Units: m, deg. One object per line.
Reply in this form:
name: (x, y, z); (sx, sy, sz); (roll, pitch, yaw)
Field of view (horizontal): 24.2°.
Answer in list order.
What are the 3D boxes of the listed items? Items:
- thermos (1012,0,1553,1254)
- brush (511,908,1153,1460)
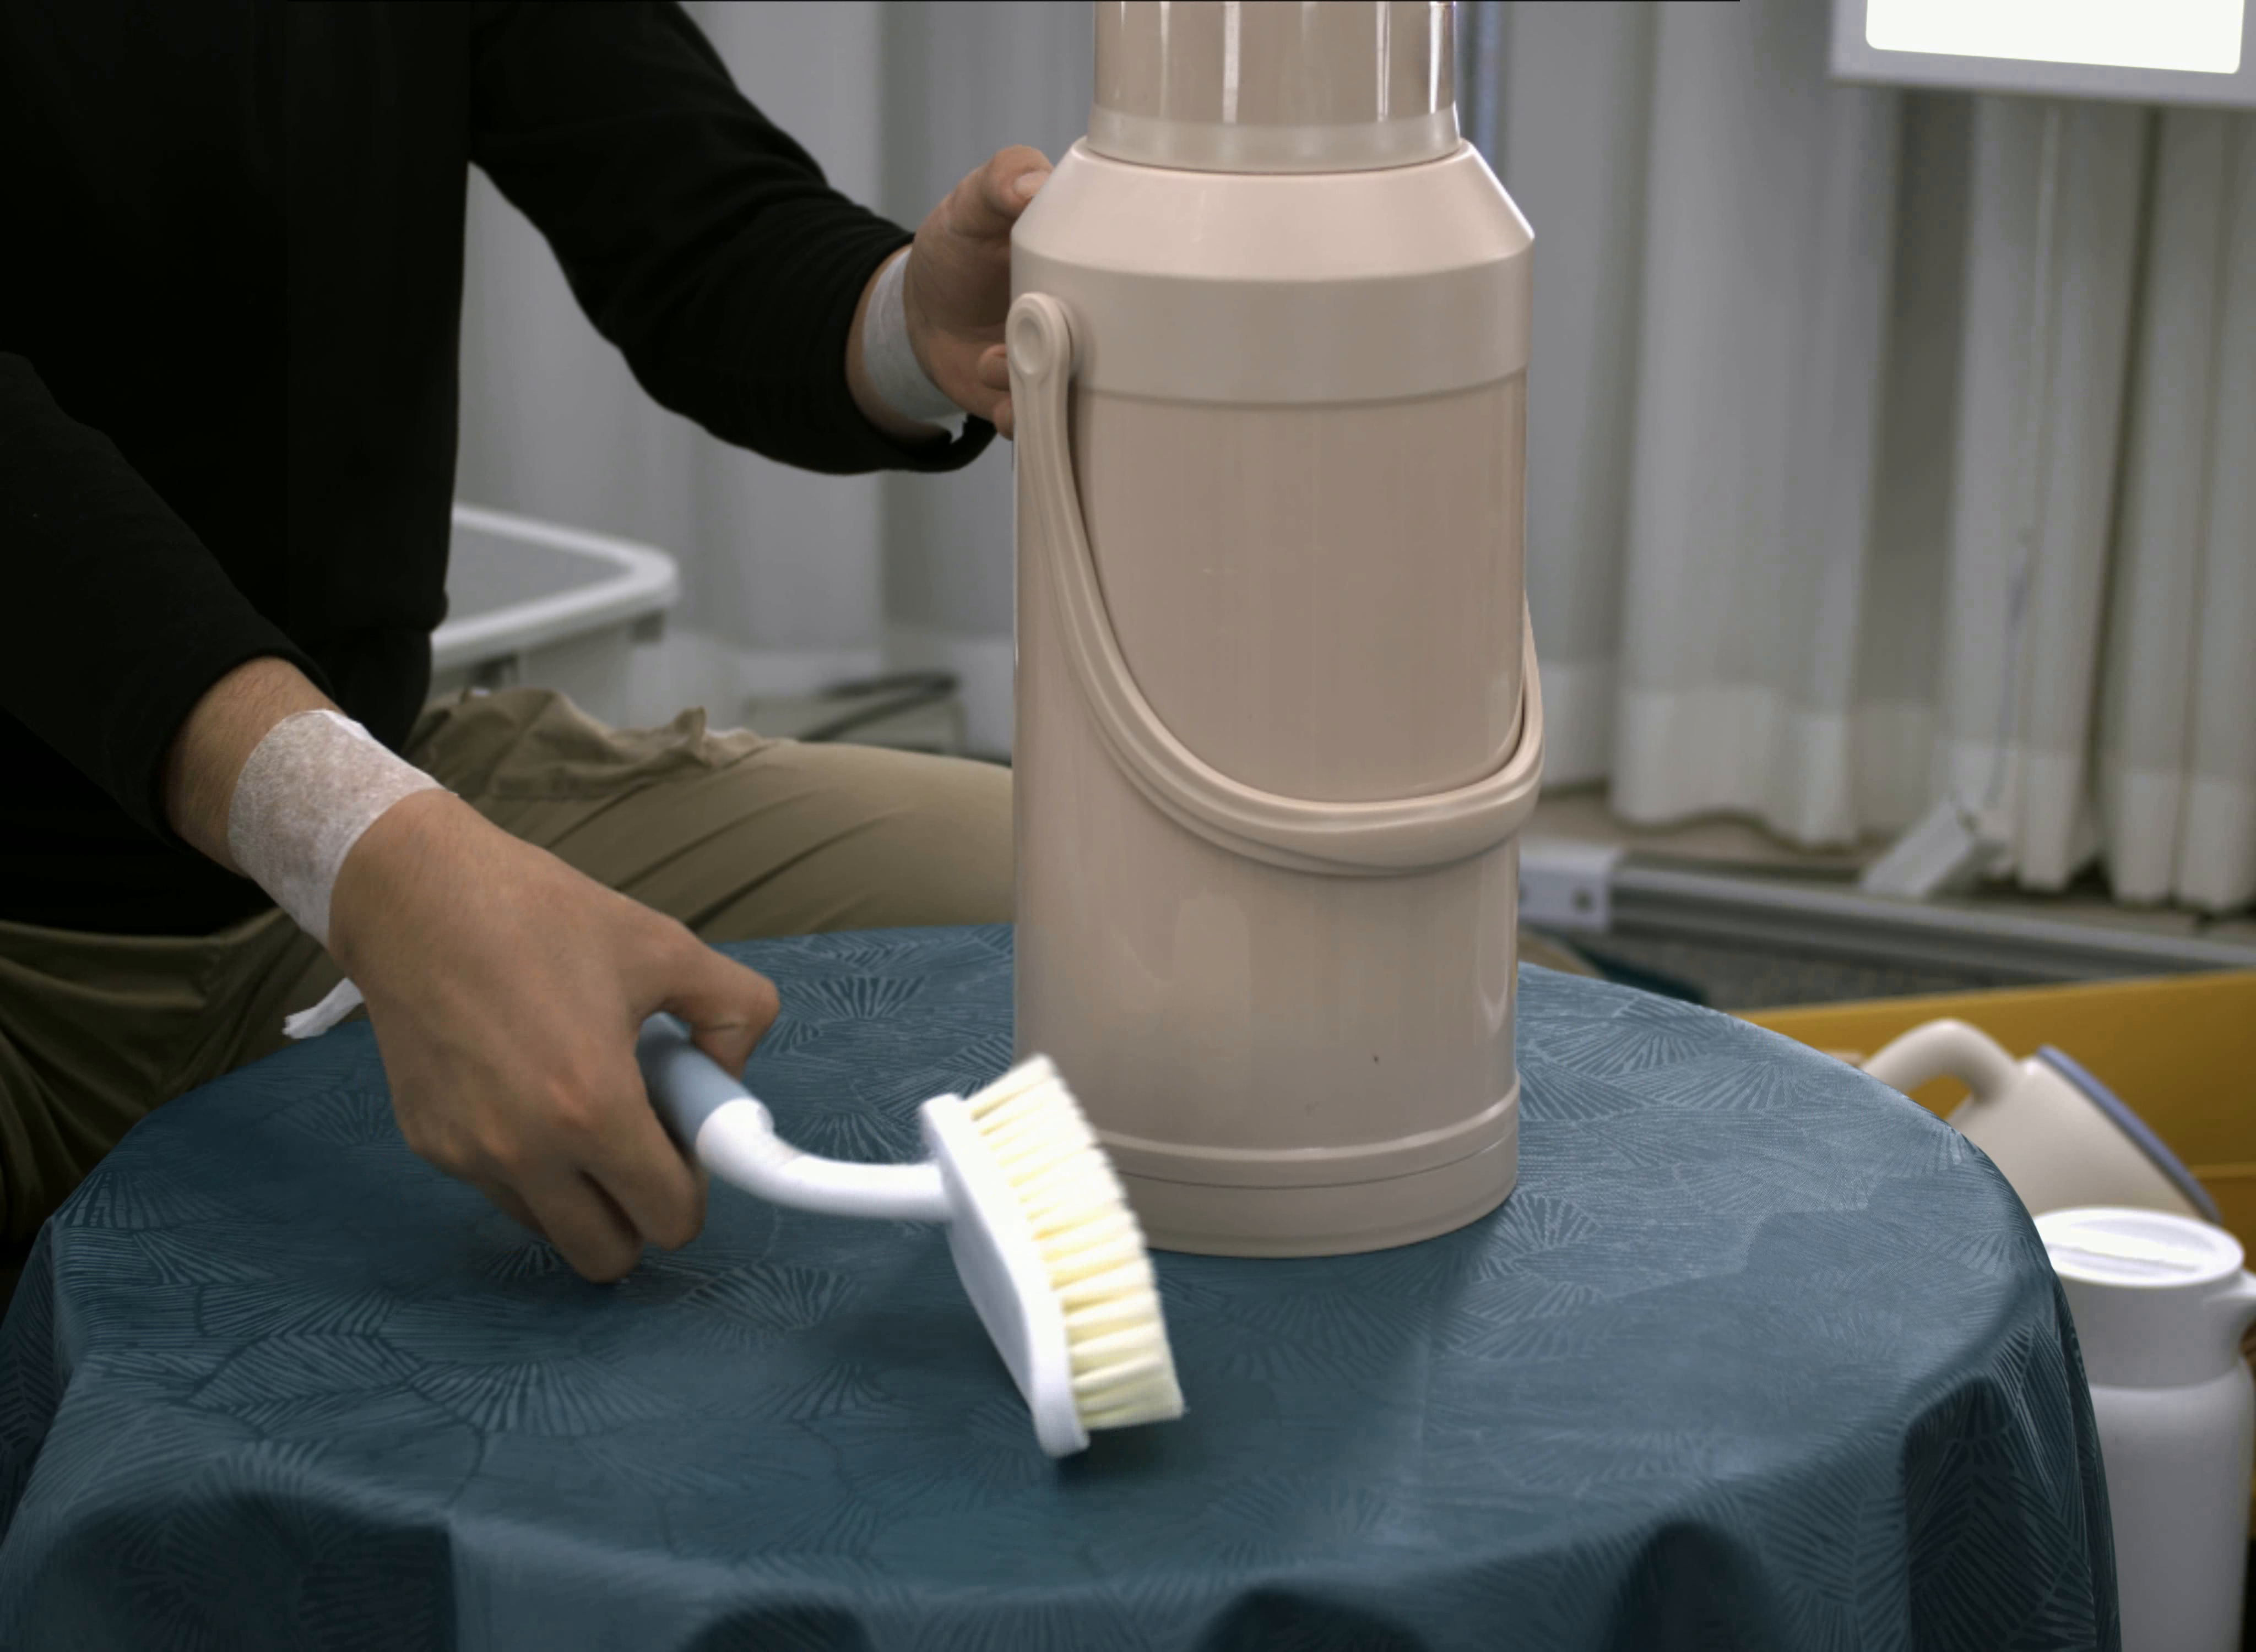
thermos: (0.038, -0.087, 1.596); (0.176, 0.410, 0.204); (-13, 21, -34)
brush: (-0.075, 0.080, 1.515); (0.085, 0.083, 0.321); (11, 17, -37)
